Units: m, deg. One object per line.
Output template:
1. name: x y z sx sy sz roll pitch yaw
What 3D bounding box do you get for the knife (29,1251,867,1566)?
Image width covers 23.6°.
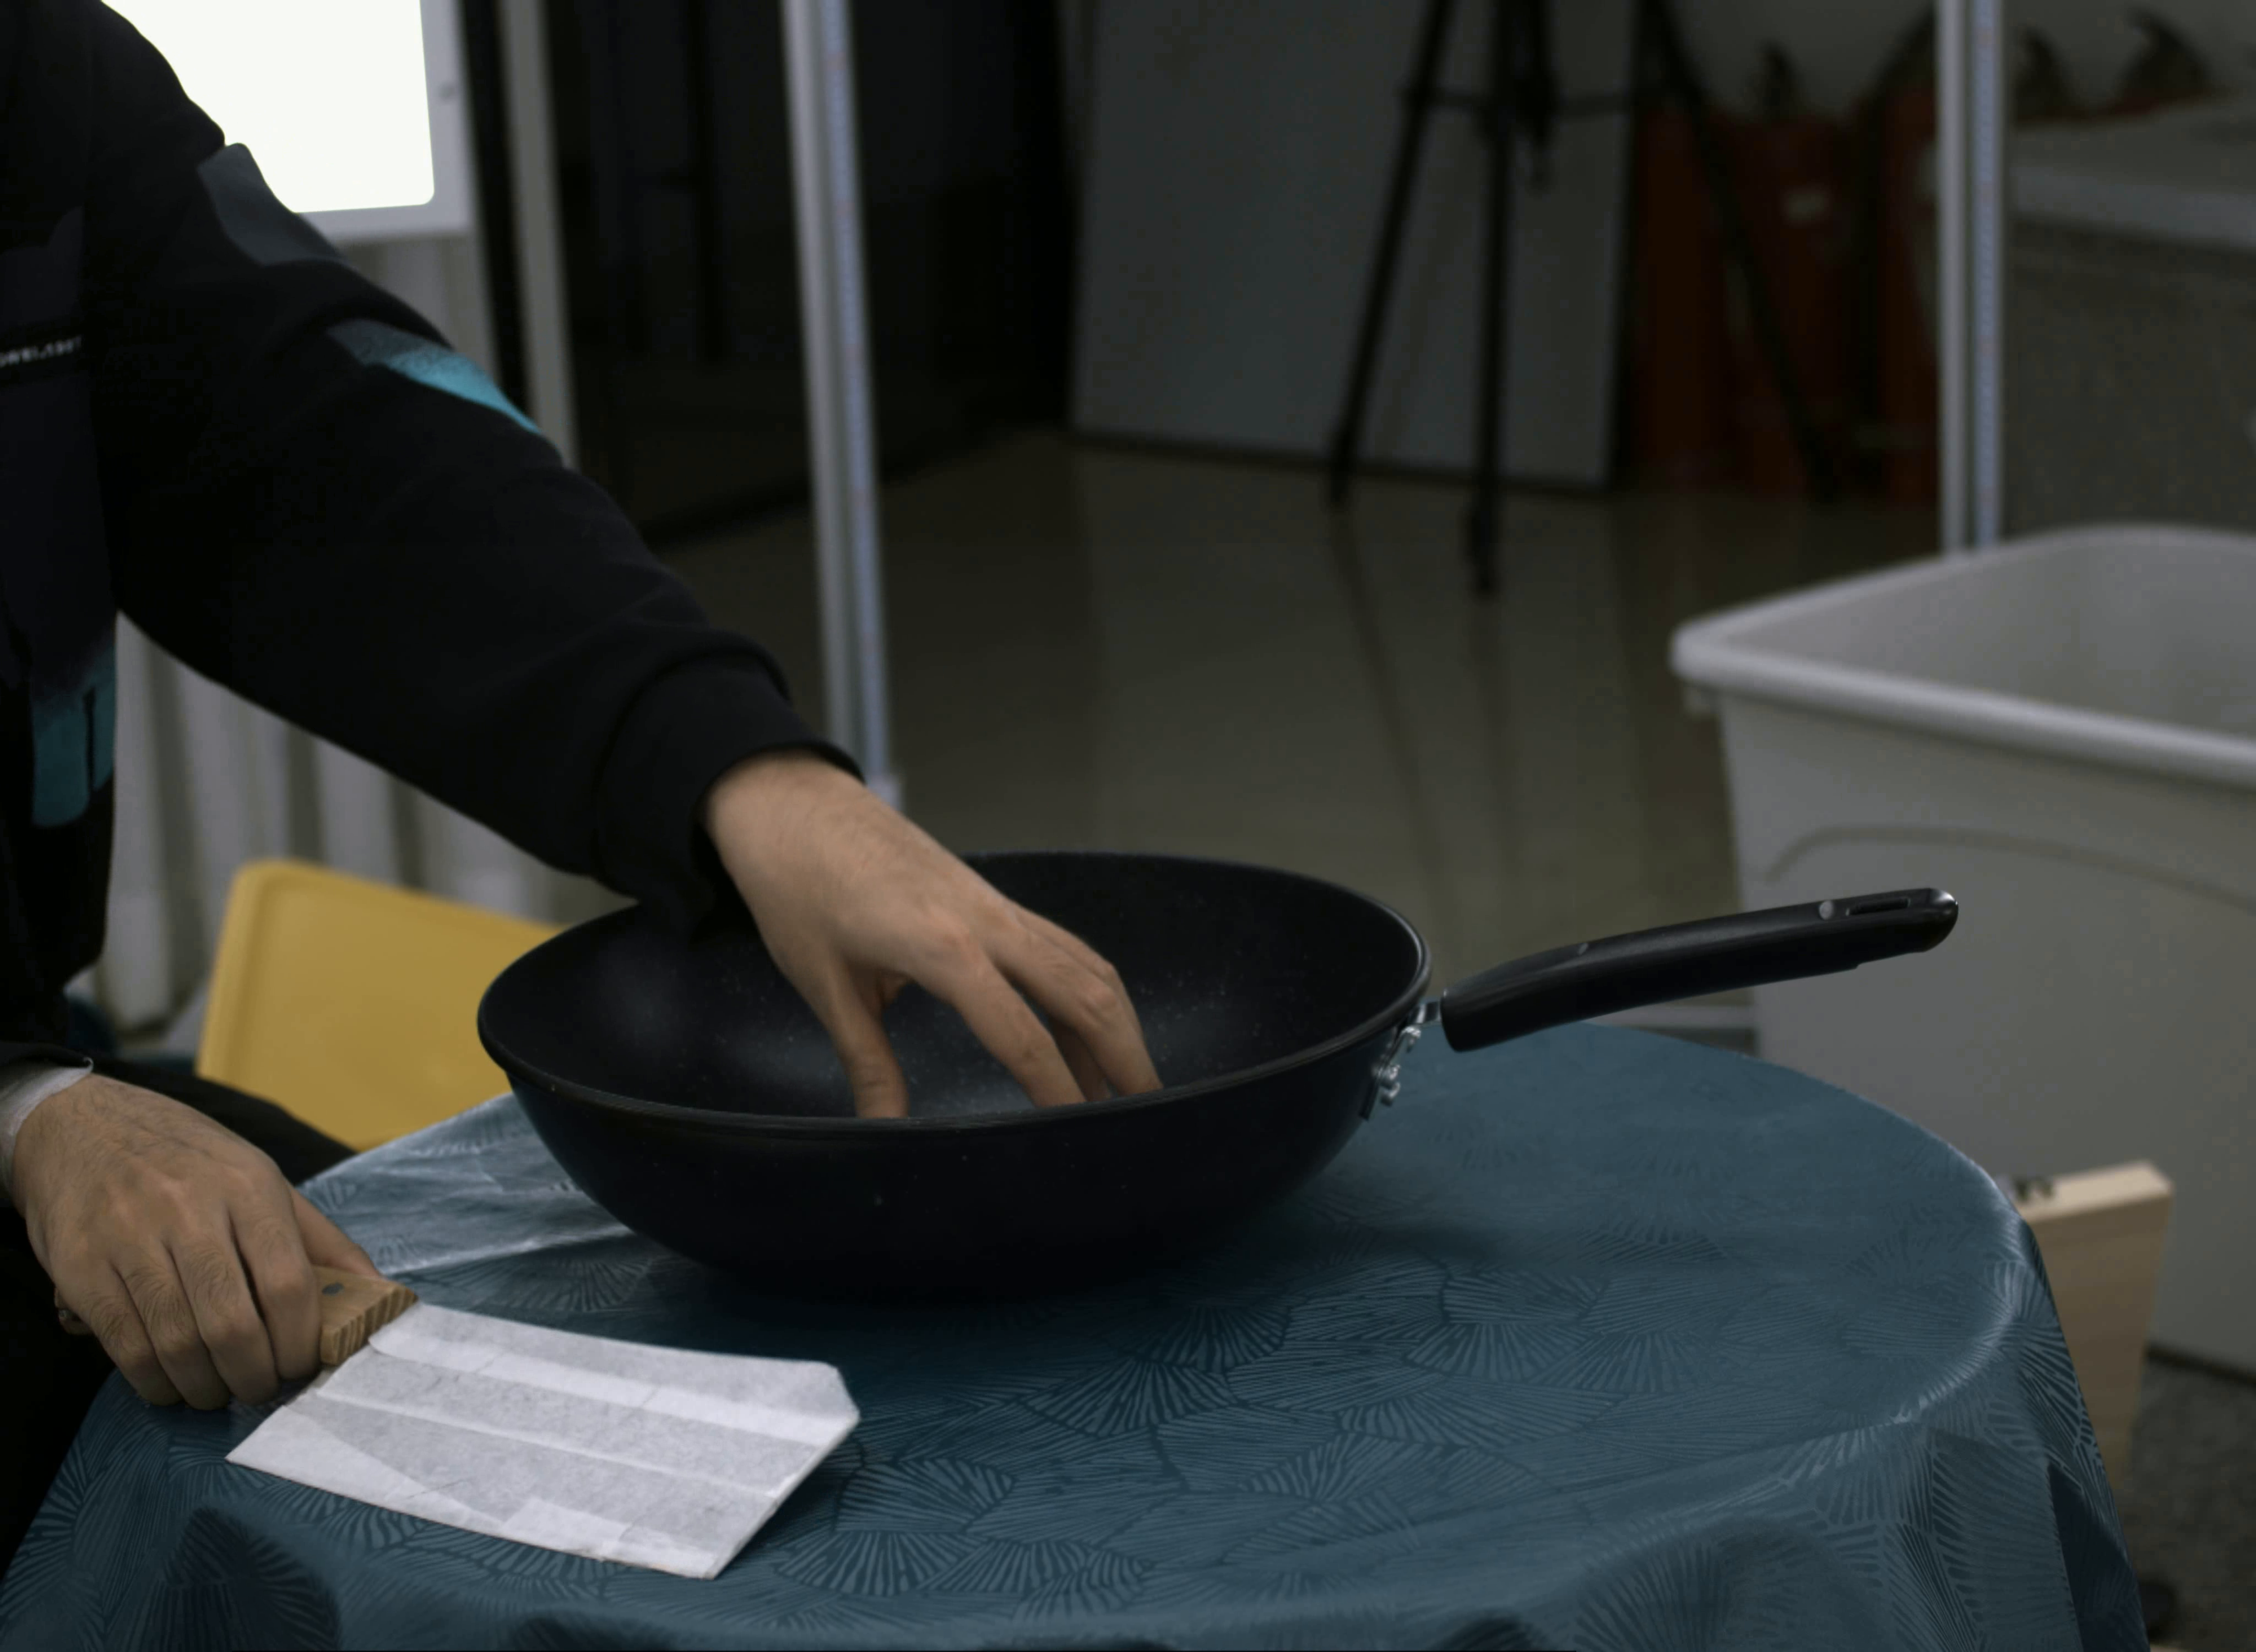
1. knife: -0.209 0.165 1.591 0.318 0.022 0.112 9 33 39

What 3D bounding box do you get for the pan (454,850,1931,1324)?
1. pan: 0.020 0.078 1.716 0.474 0.113 0.308 -1 16 14
